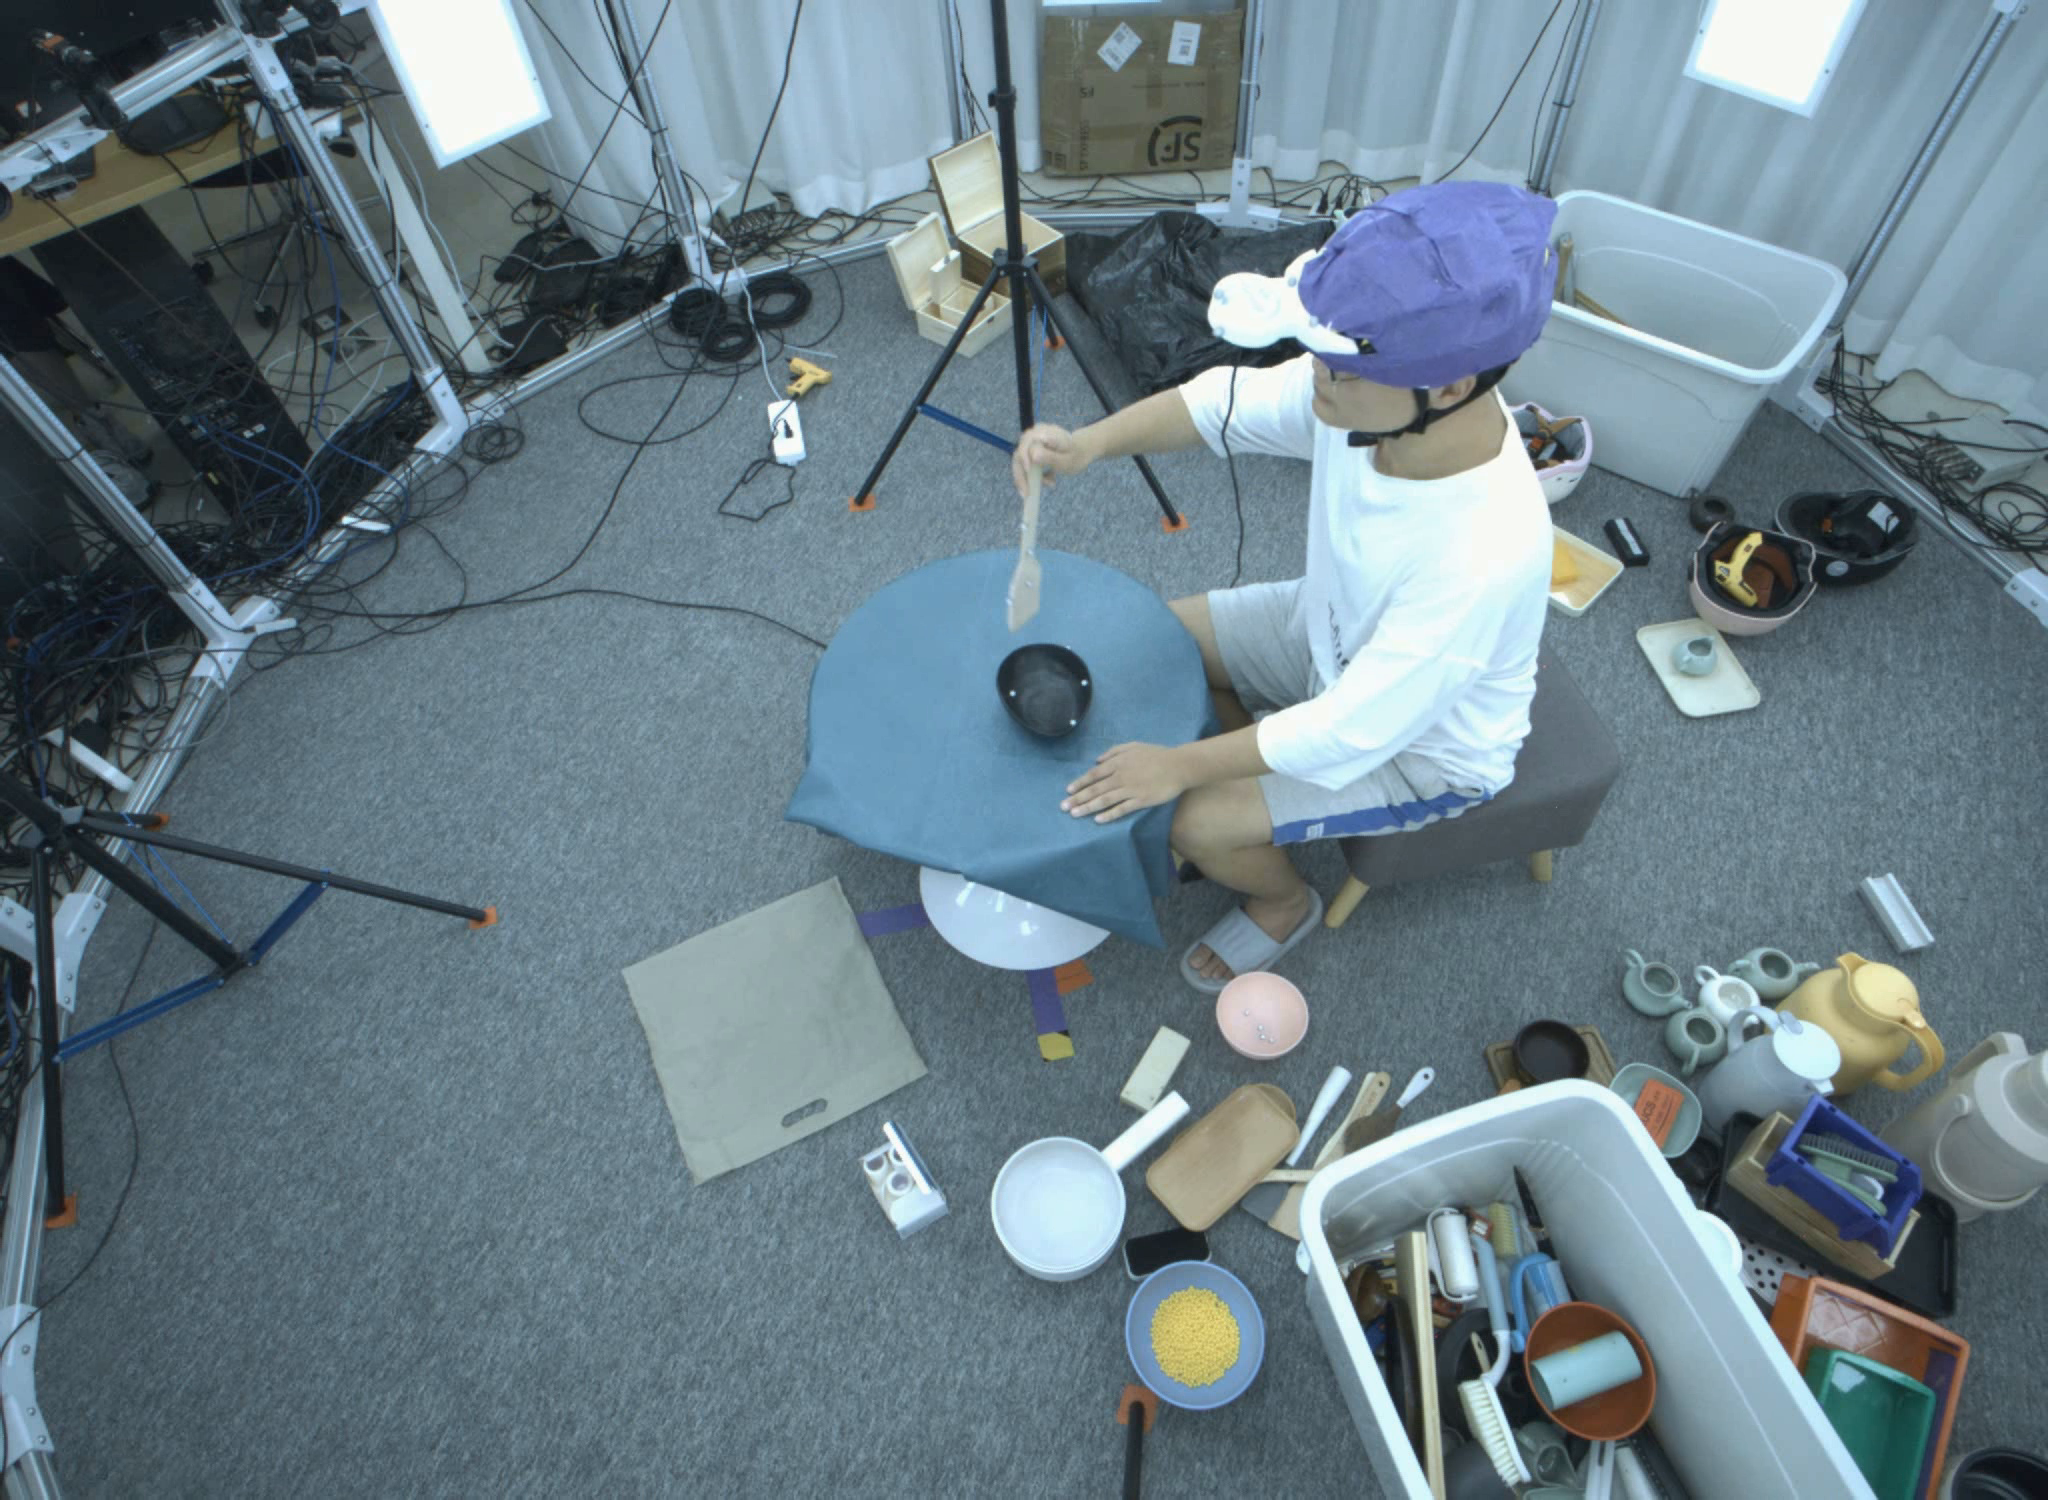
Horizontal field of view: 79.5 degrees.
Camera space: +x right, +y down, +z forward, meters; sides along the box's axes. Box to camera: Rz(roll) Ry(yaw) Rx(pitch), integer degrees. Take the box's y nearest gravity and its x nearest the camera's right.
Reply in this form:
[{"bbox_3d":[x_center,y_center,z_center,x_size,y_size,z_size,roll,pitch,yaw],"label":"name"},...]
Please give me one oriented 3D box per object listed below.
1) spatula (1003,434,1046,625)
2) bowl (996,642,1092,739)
[{"bbox_3d":[0.003,-0.295,1.638,0.010,0.295,0.073,30,50,22],"label":"spatula"},{"bbox_3d":[0.031,-0.079,1.801,0.138,0.067,0.167,-16,57,-10],"label":"bowl"}]
